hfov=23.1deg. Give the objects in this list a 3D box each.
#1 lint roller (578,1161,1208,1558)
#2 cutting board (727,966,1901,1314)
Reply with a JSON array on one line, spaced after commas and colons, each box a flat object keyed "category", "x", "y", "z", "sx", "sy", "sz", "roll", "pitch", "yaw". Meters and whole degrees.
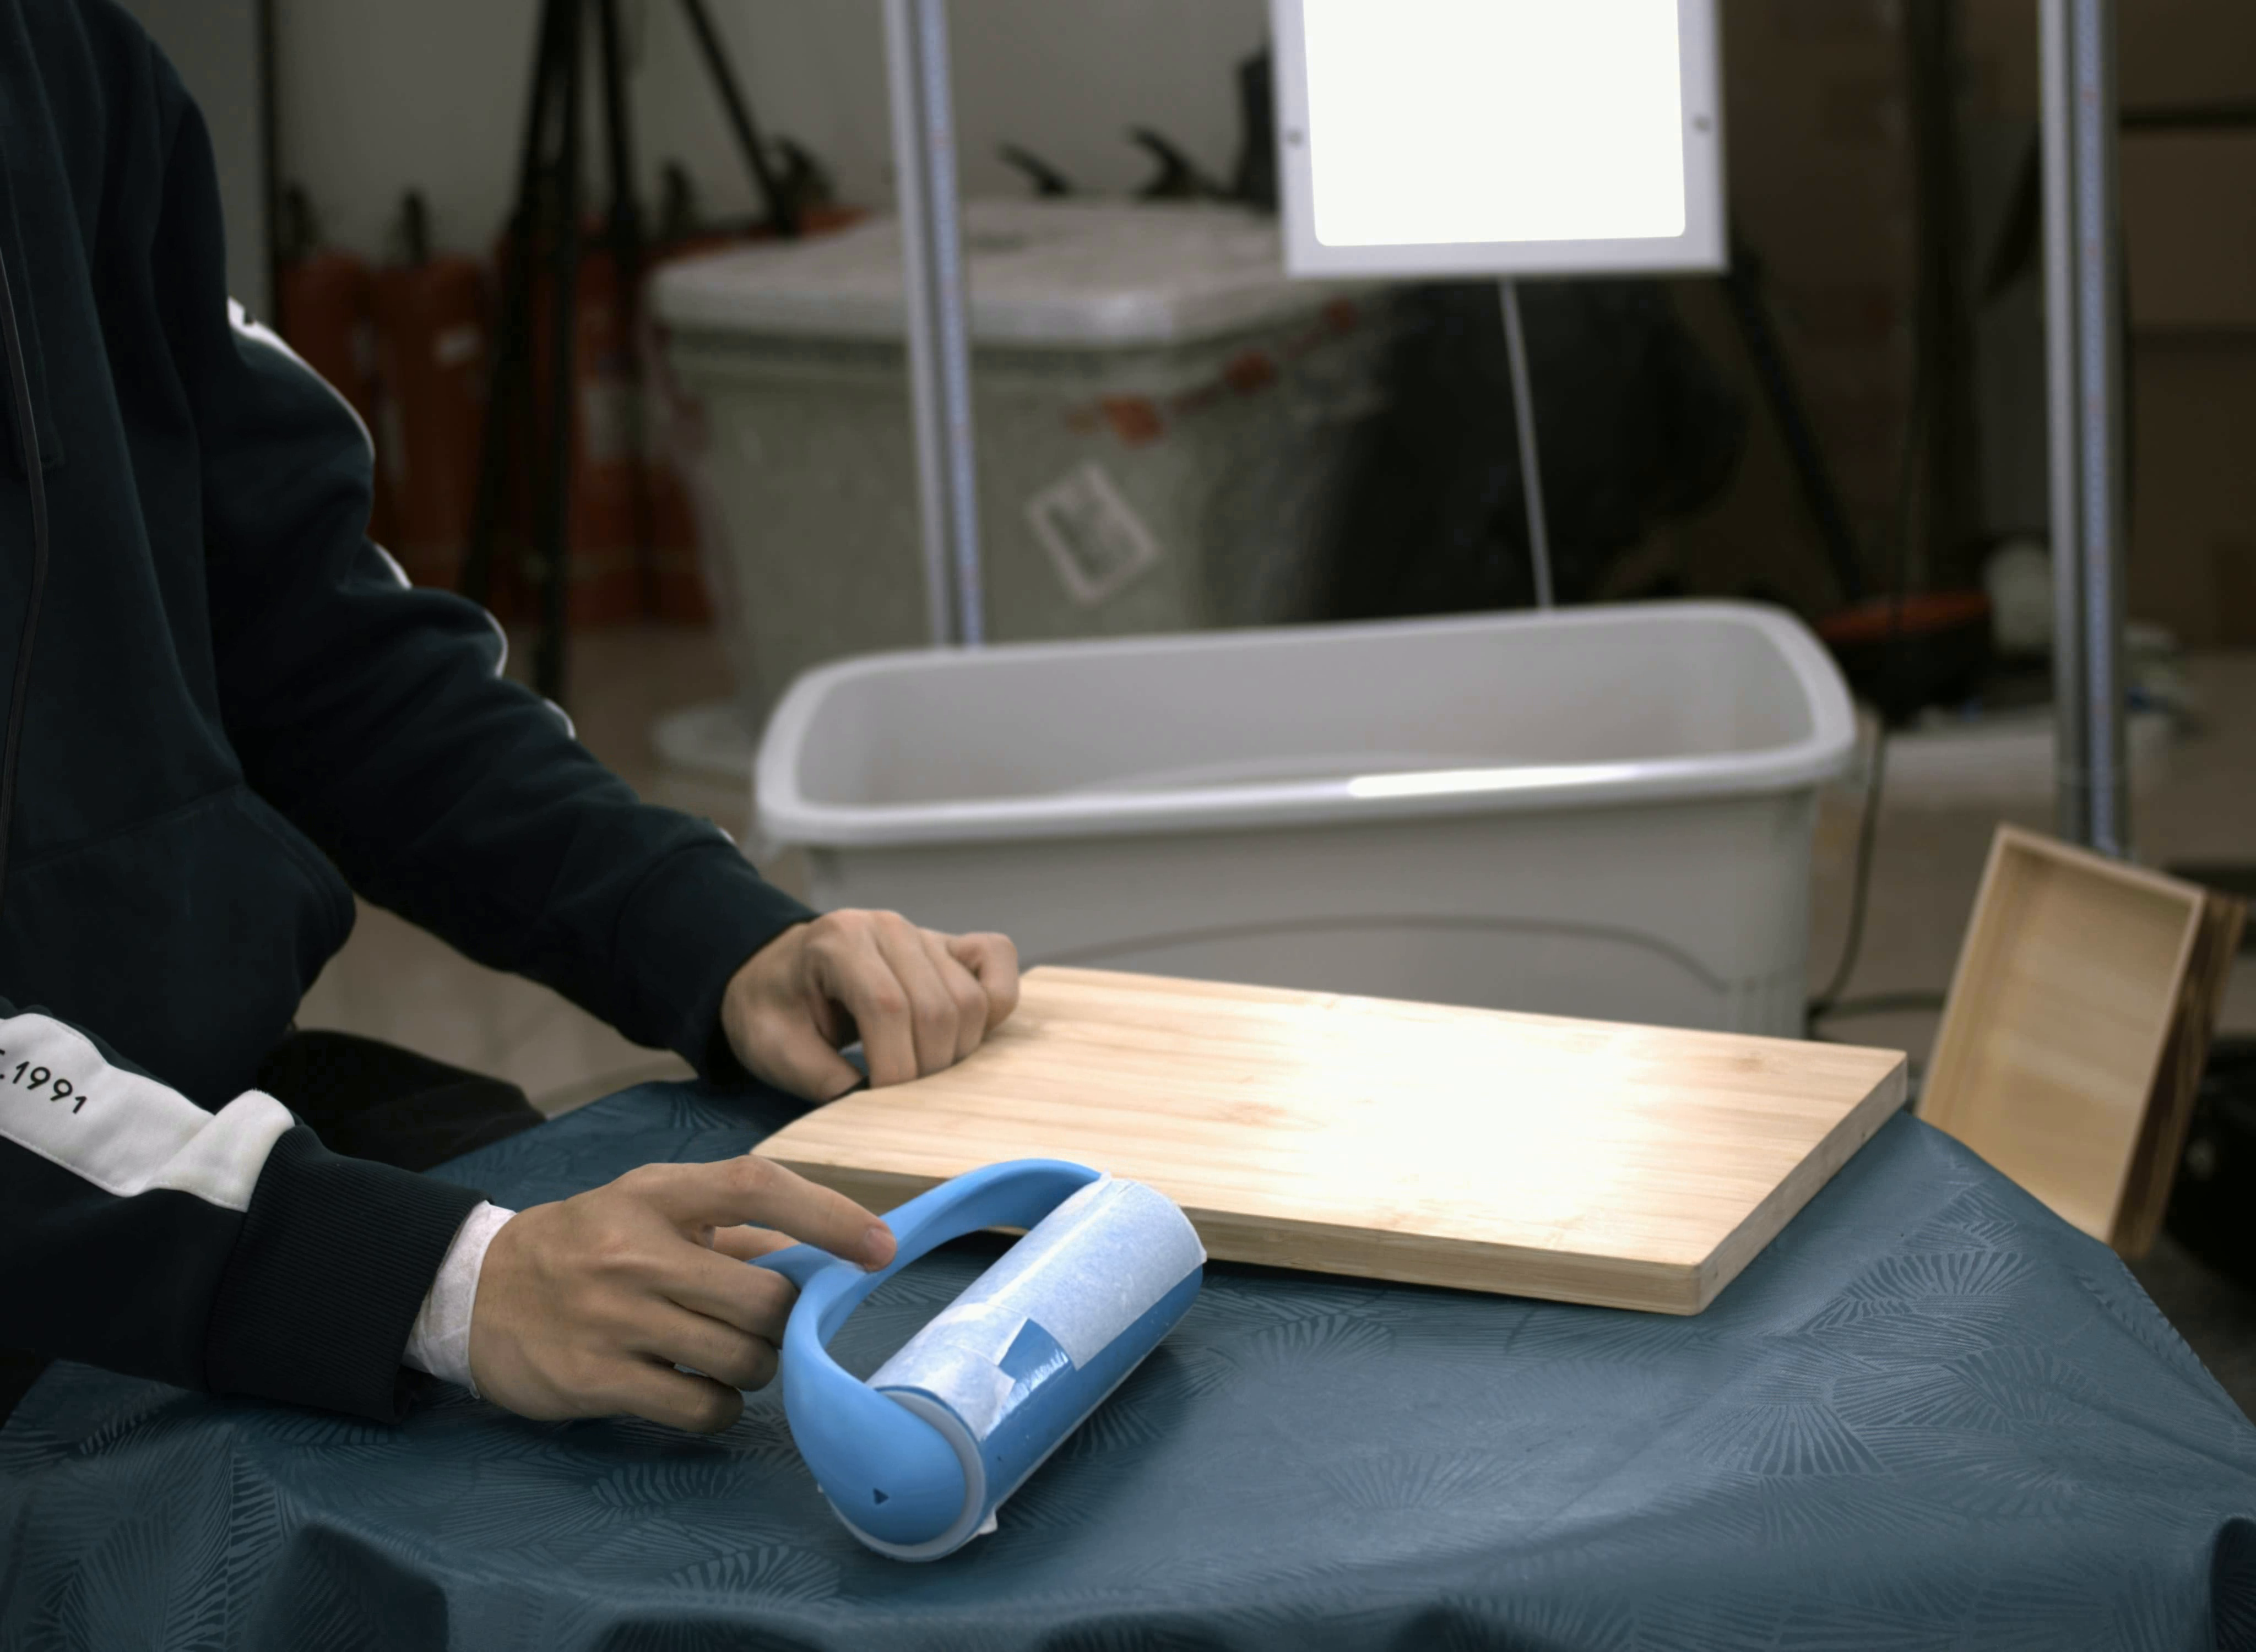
[{"category": "lint roller", "x": -0.087, "y": 0.159, "z": 1.674, "sx": 0.182, "sy": 0.068, "sz": 0.225, "roll": 0, "pitch": 16, "yaw": 18}, {"category": "cutting board", "x": 0.068, "y": 0.104, "z": 1.897, "sx": 0.354, "sy": 0.024, "sz": 0.246, "roll": 4, "pitch": 16, "yaw": 24}]
